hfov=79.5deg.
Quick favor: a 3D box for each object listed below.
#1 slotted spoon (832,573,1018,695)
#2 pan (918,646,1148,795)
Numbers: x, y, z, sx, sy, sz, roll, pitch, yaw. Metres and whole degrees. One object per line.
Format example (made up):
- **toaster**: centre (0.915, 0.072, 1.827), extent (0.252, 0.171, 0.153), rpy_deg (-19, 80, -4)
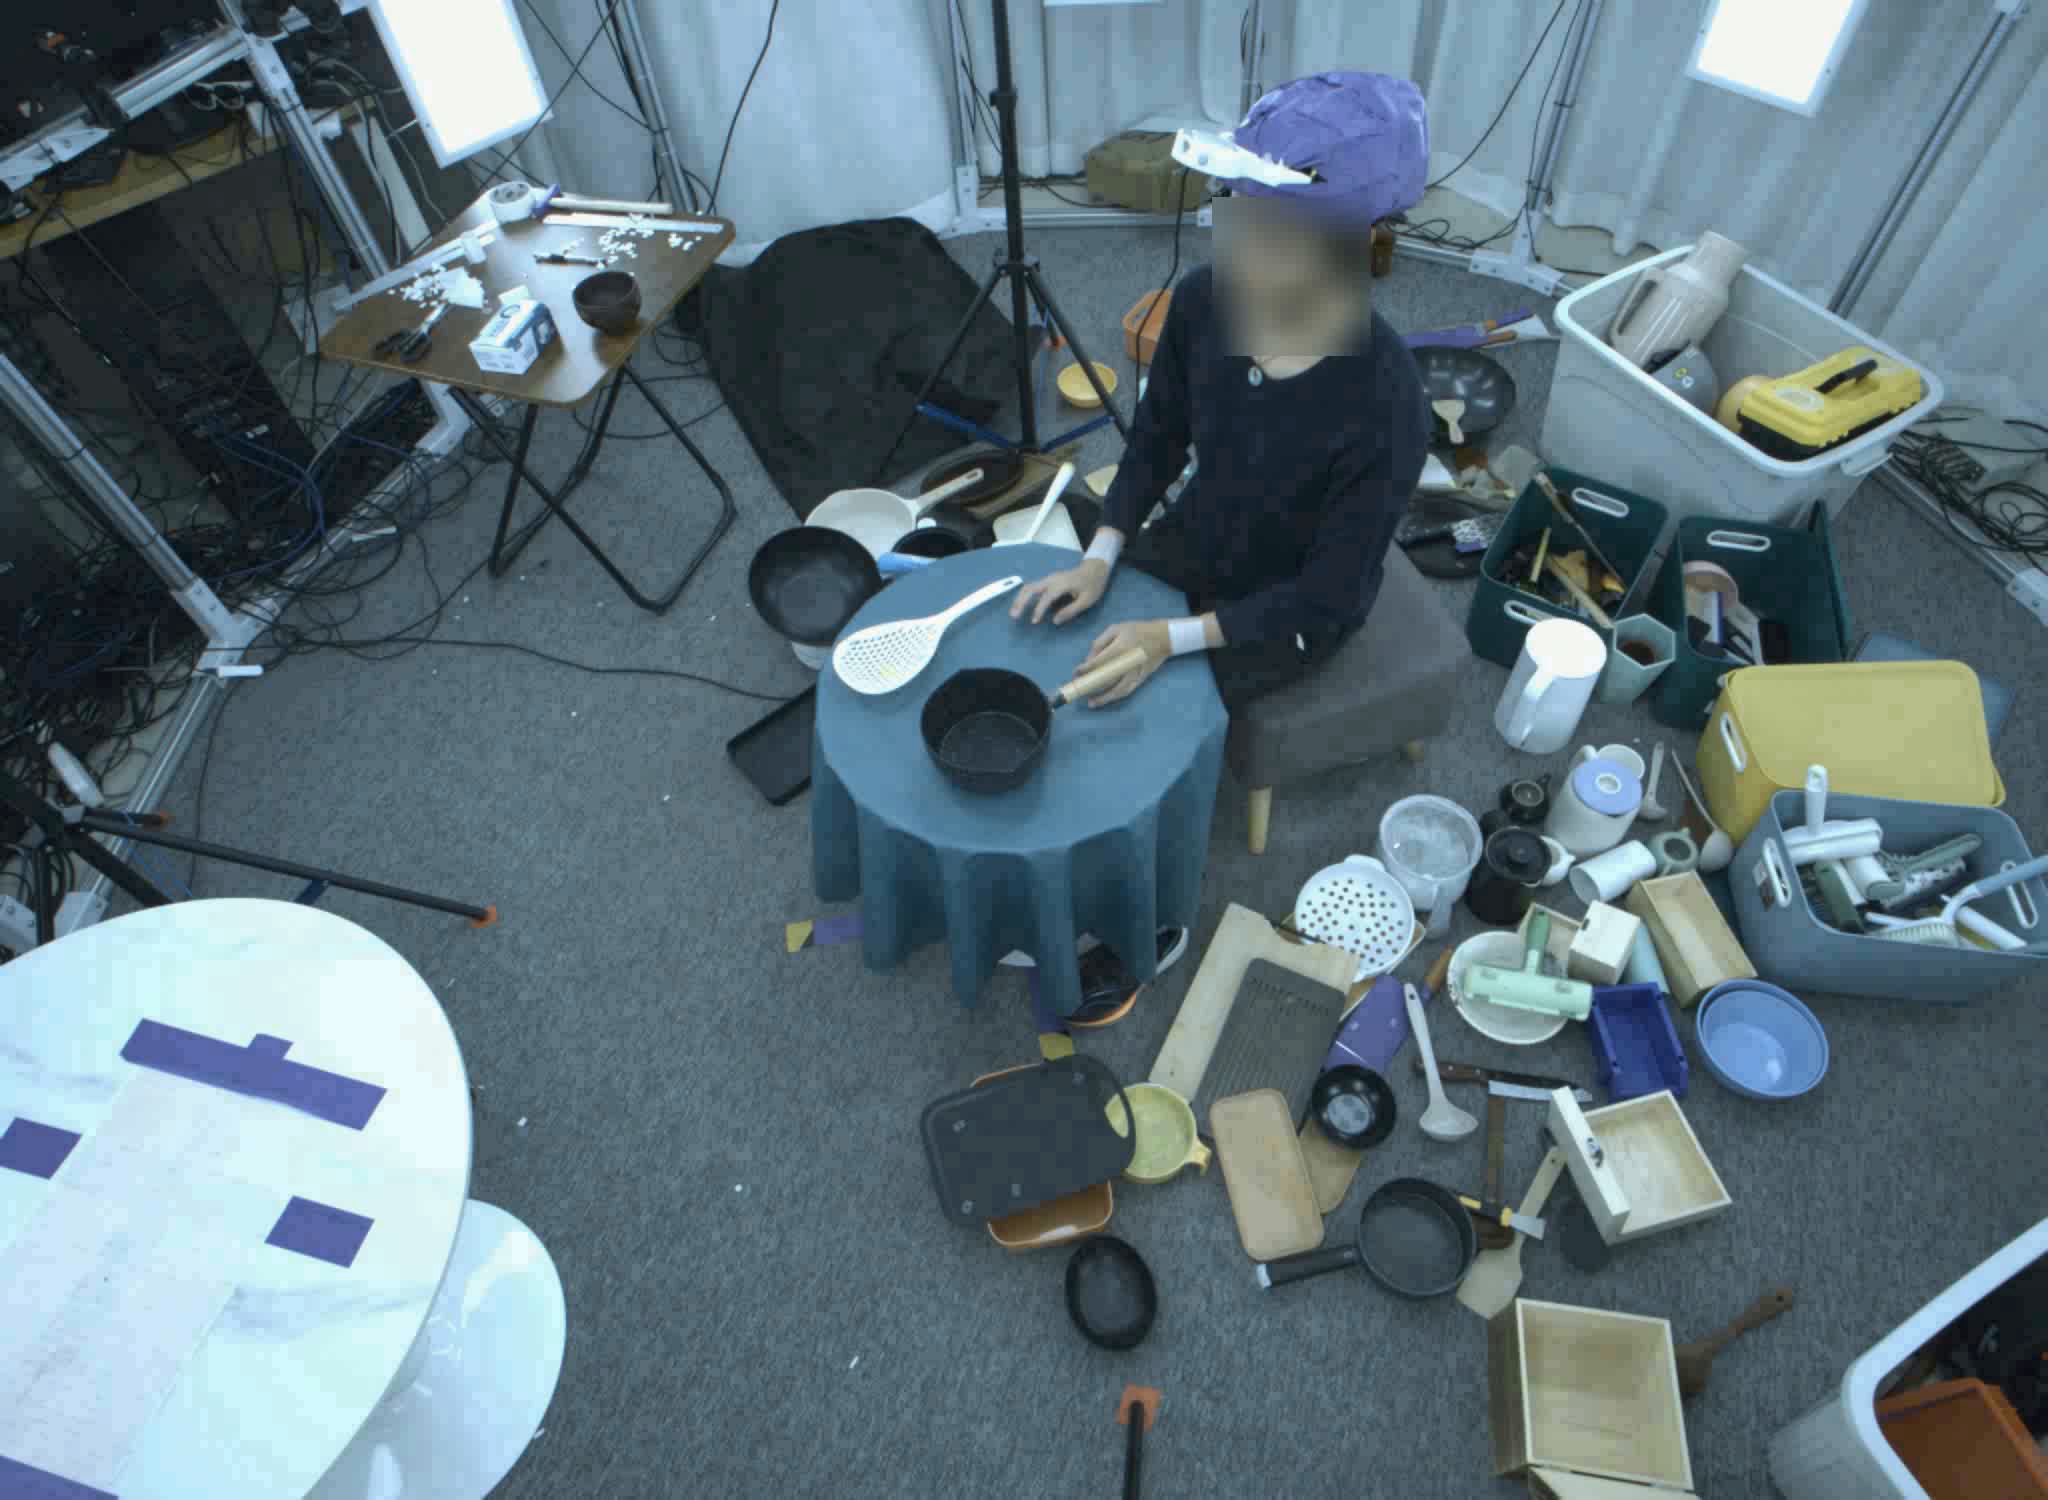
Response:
- **slotted spoon**: centre (-0.138, -0.191, 1.901), extent (0.350, 0.051, 0.134), rpy_deg (-39, 60, -21)
- **pan**: centre (0.019, -0.056, 1.760), extent (0.345, 0.109, 0.203), rpy_deg (-22, 56, -11)
